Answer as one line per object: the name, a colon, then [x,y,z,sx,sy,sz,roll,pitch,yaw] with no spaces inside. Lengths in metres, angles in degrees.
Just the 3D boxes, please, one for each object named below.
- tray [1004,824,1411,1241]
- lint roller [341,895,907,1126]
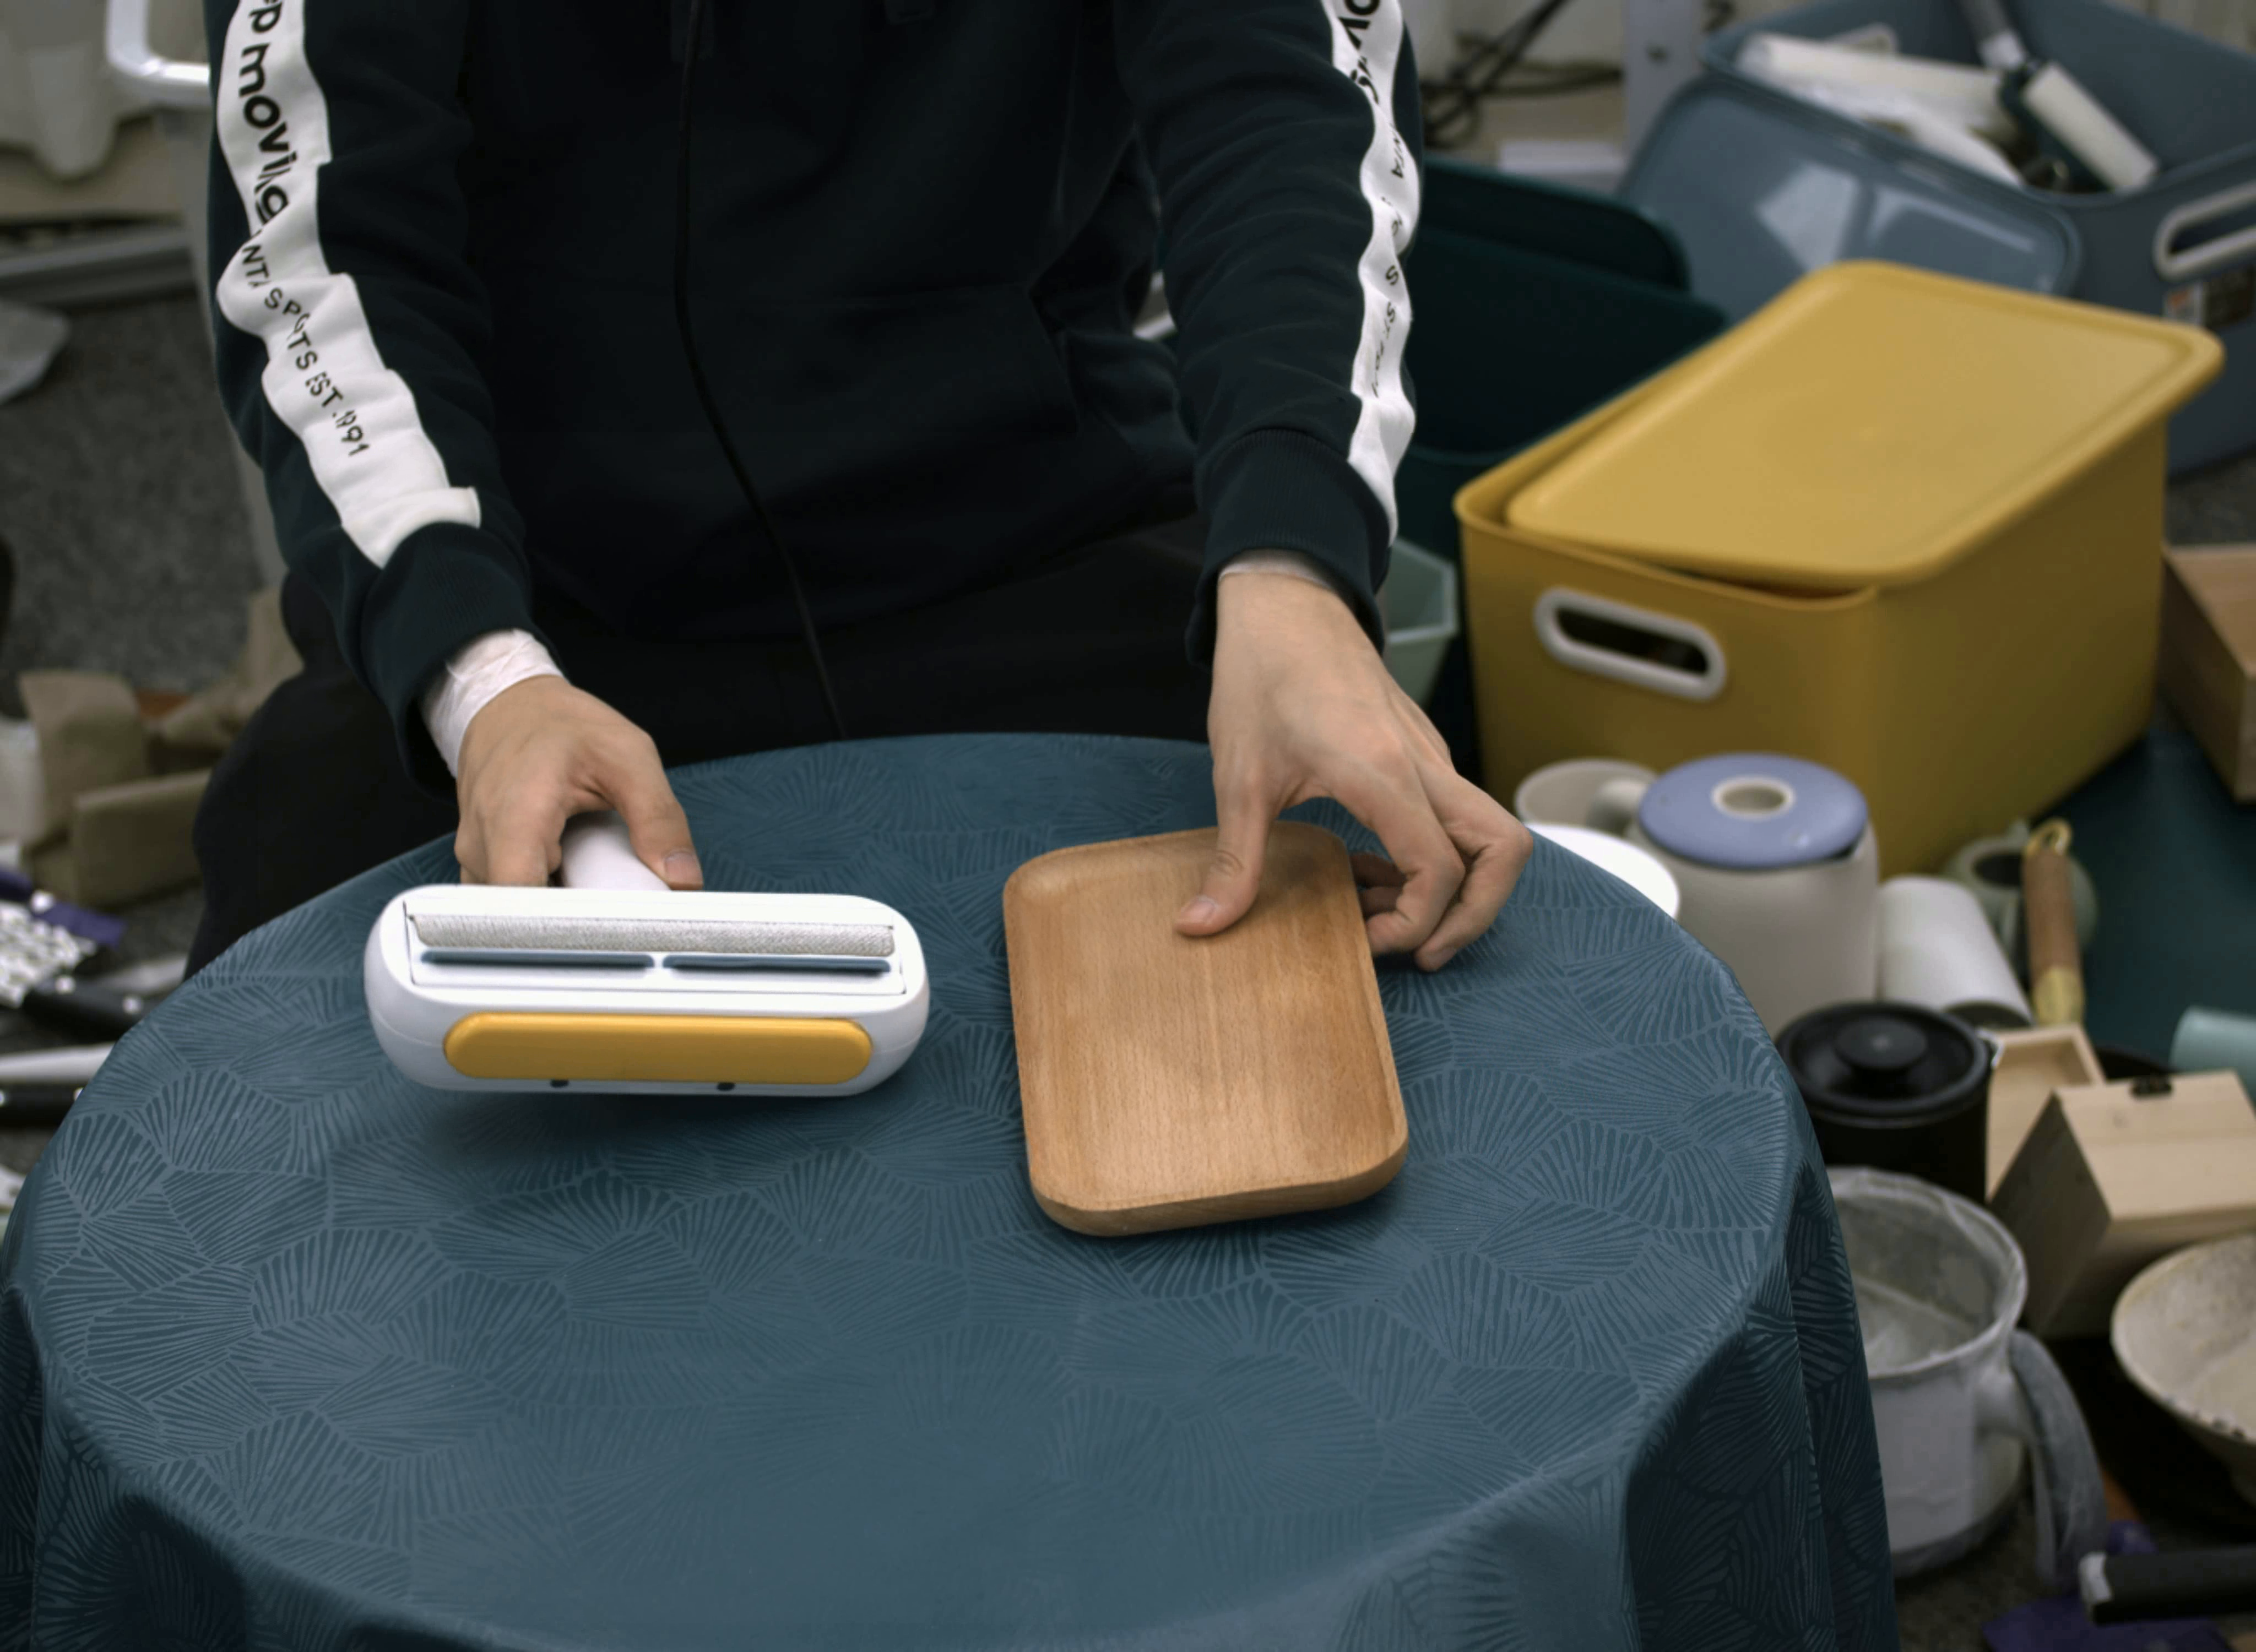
tray: [0.024,0.068,1.937,0.130,0.022,0.254,-5,27,-1]
lint roller: [-0.179,0.050,1.968,0.192,0.073,0.194,2,19,-9]
